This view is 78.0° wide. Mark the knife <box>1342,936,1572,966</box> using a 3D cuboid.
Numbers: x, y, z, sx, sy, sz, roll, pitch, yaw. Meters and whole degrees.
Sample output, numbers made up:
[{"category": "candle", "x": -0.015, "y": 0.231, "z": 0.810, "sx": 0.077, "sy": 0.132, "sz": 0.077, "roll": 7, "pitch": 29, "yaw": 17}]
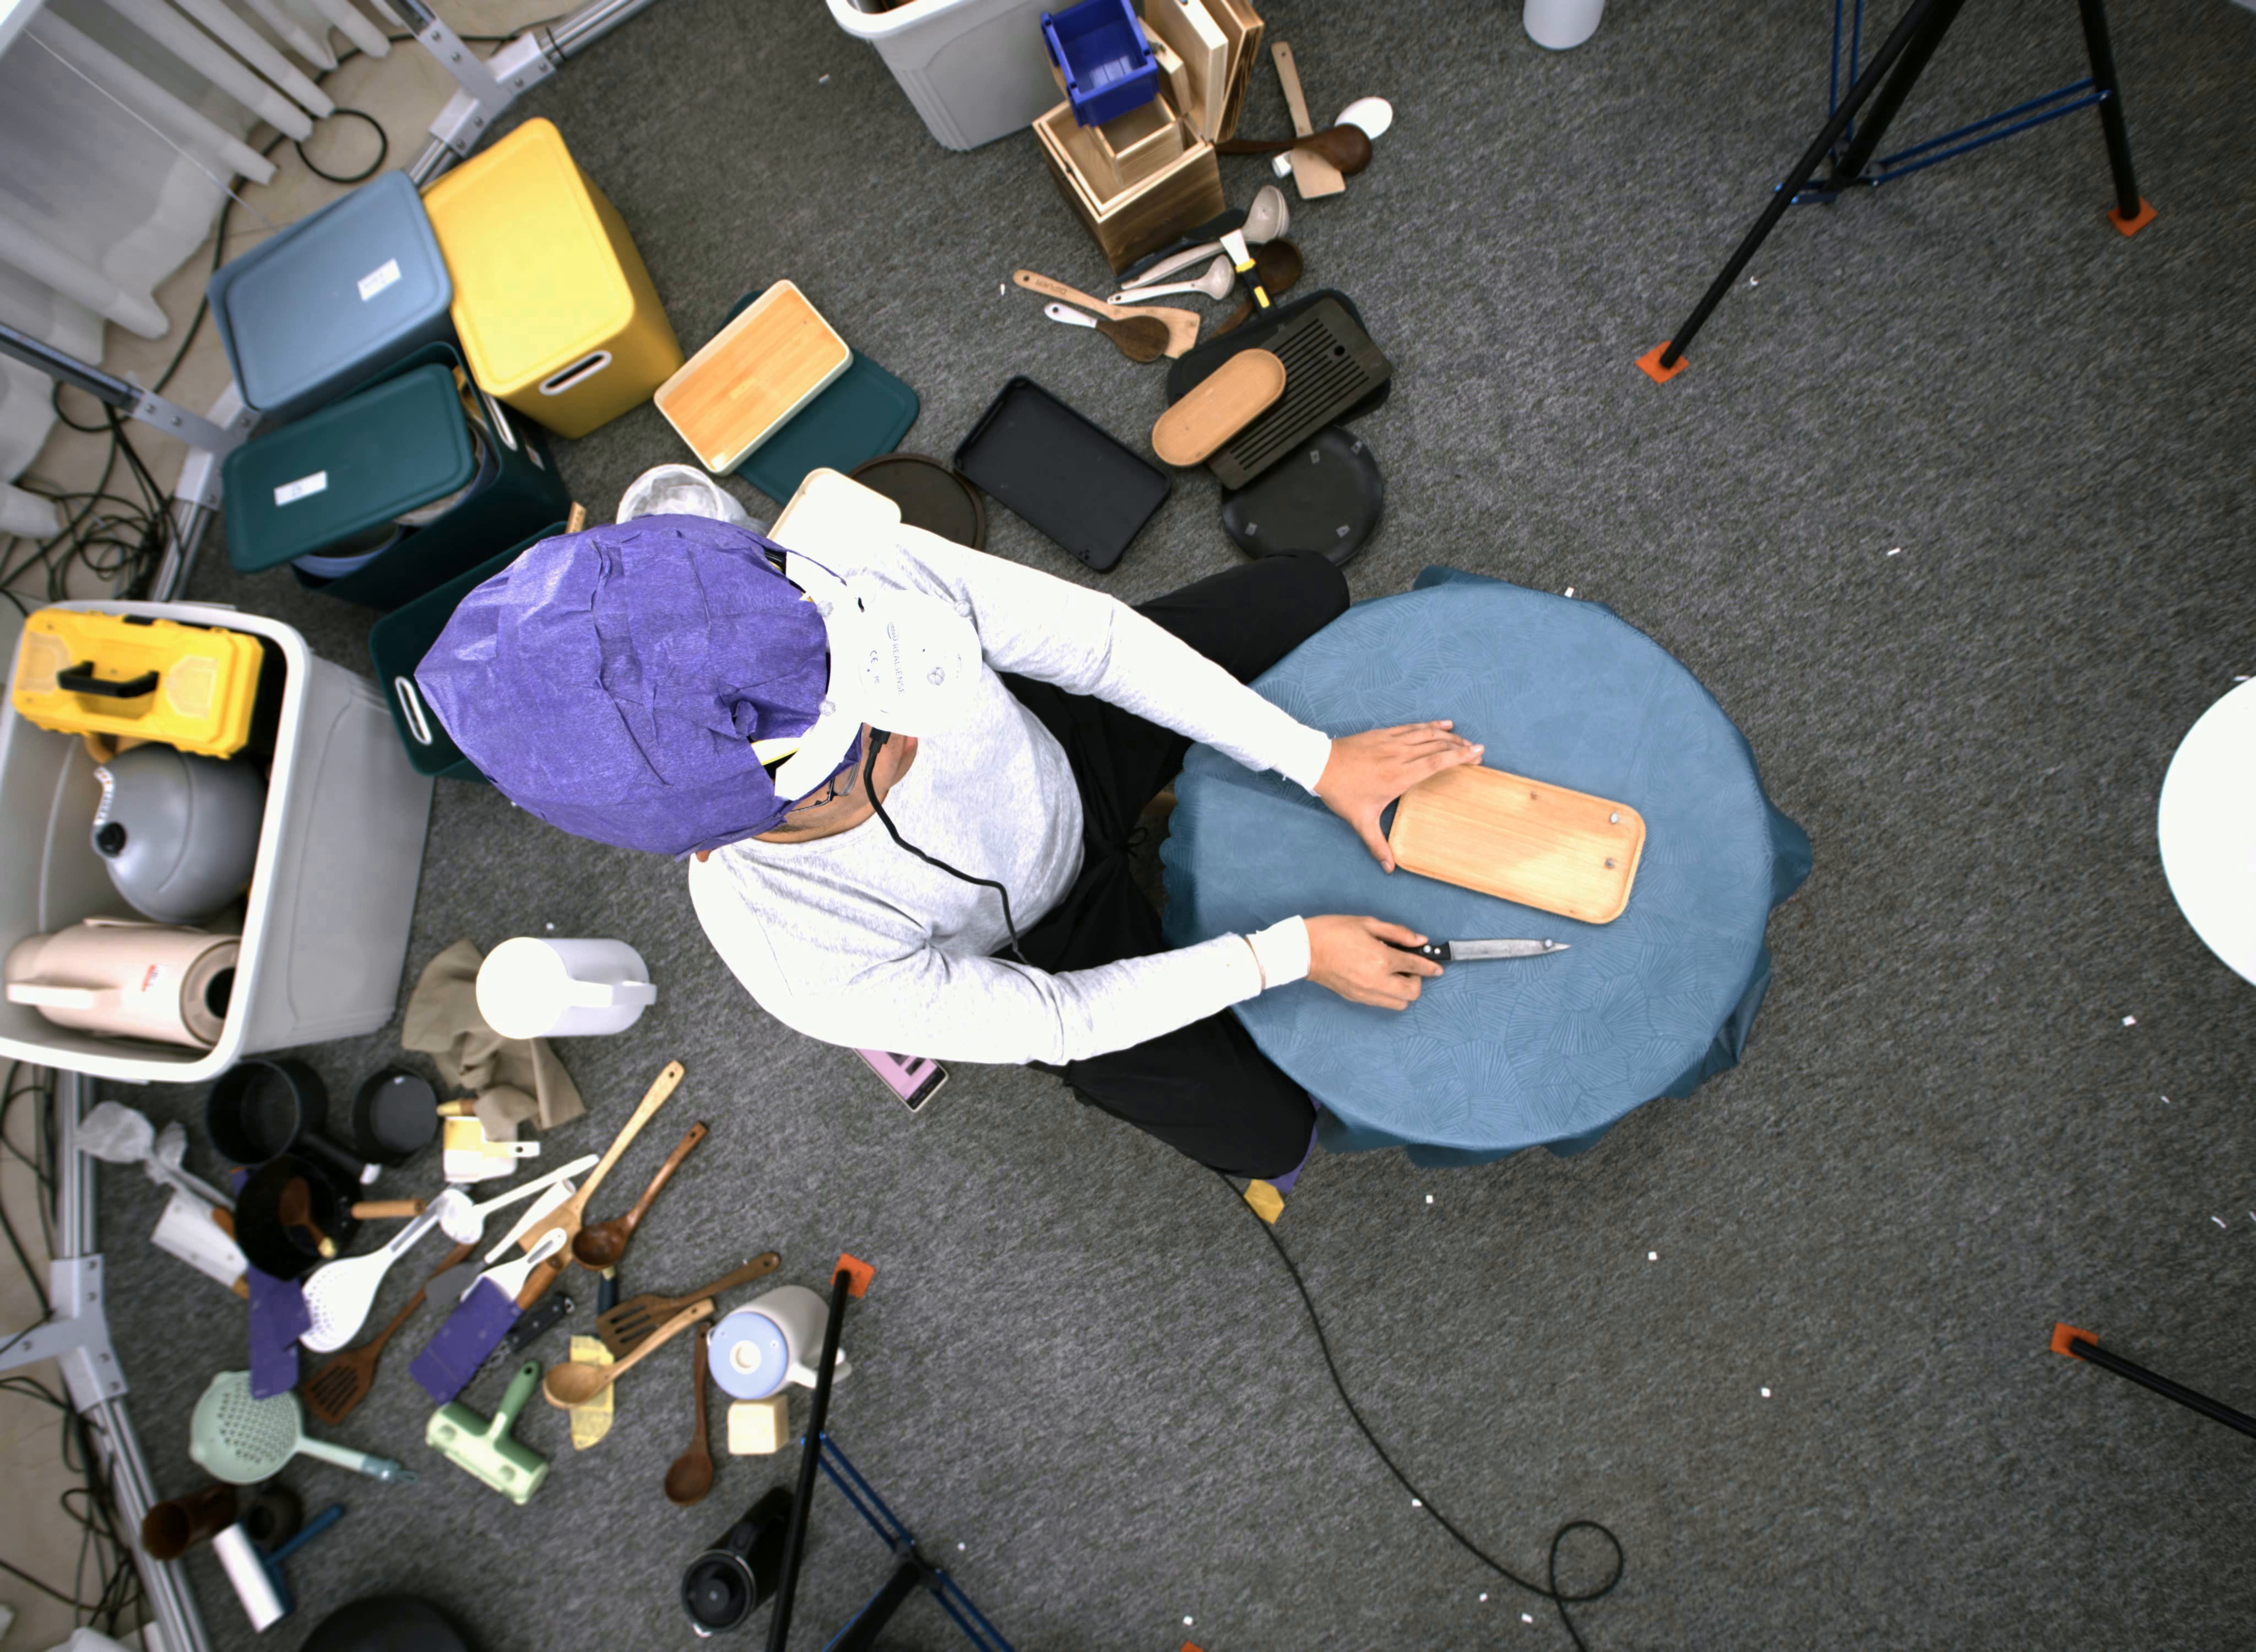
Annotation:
[{"category": "knife", "x": 0.342, "y": 0.128, "z": 1.432, "sx": 0.239, "sy": 0.016, "sz": 0.024, "roll": -4, "pitch": 66, "yaw": 5}]

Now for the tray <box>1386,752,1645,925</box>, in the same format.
[{"category": "tray", "x": 0.401, "y": 0.010, "z": 1.431, "sx": 0.251, "sy": 0.023, "sz": 0.130, "roll": 17, "pitch": 87, "yaw": 12}]
